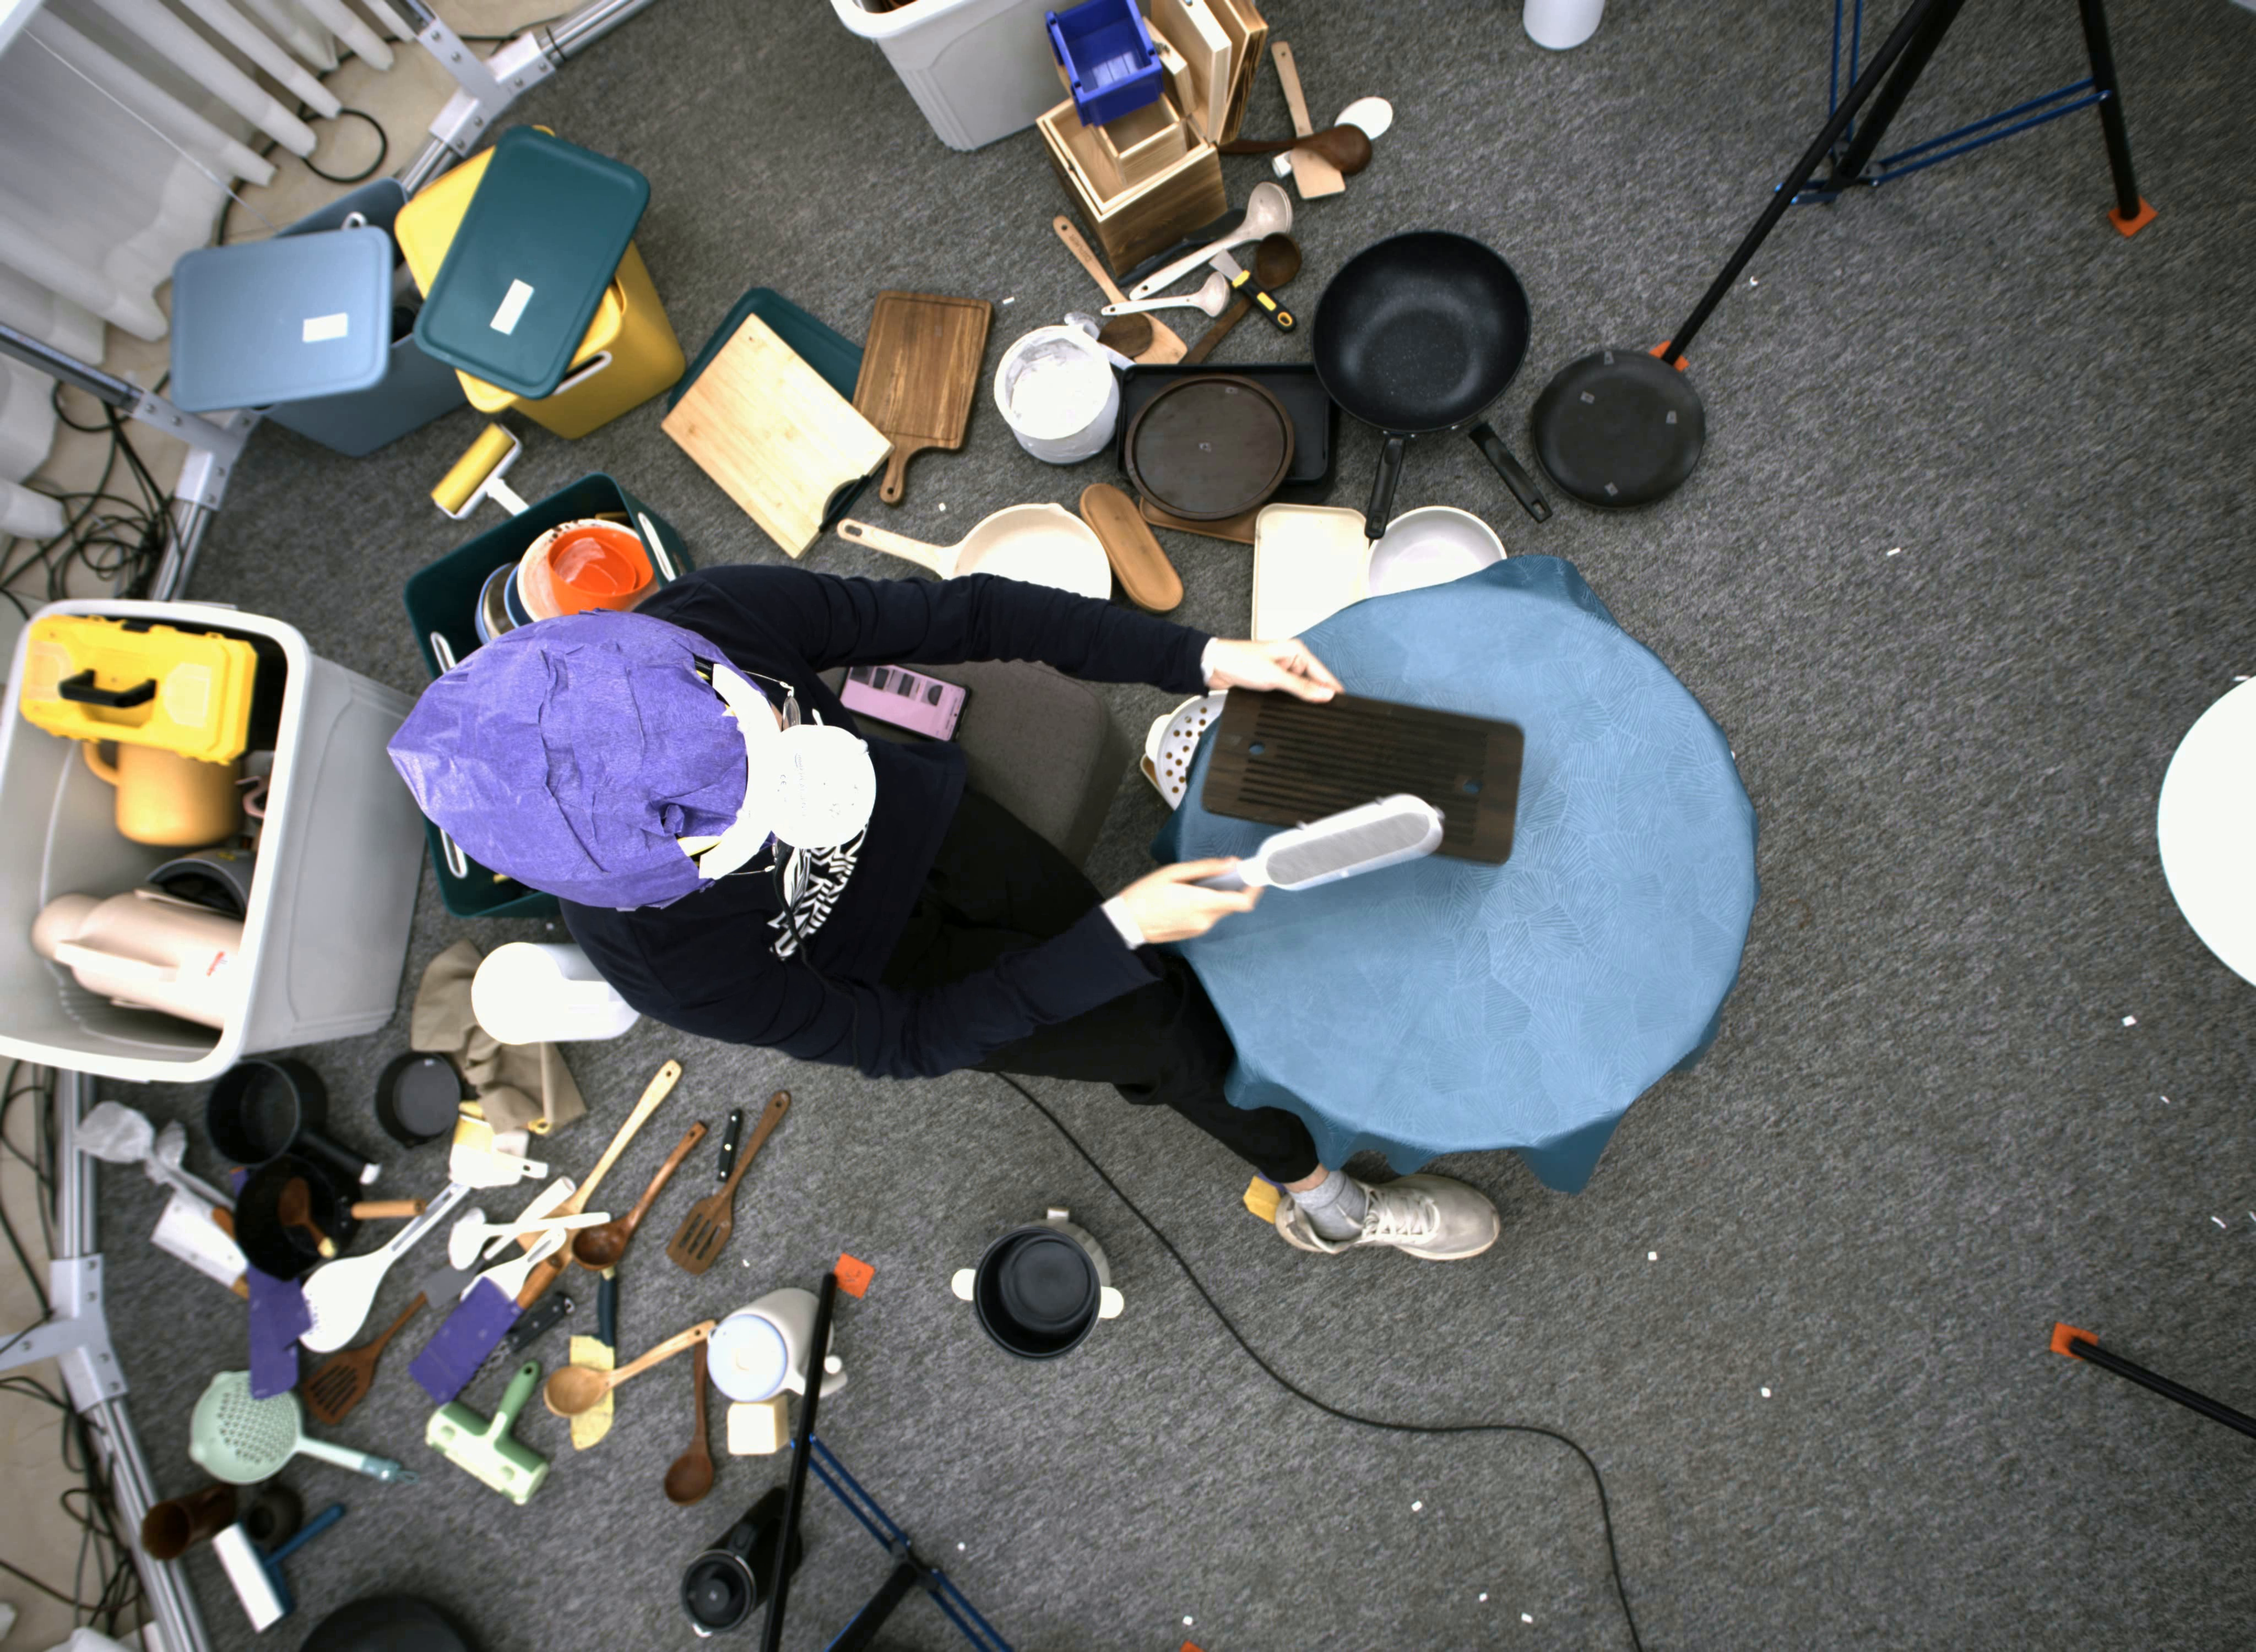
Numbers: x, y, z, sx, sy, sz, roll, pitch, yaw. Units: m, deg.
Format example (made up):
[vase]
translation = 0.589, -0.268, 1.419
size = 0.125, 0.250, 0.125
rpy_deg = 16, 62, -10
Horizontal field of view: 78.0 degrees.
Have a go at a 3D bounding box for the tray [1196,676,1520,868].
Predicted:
[tray]
translation = 0.231, -0.057, 1.375
size = 0.306, 0.019, 0.166
rpy_deg = 11, 62, 9

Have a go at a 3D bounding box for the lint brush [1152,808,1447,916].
[lint brush]
translation = 0.160, 0.040, 1.346
size = 0.312, 0.020, 0.061
rpy_deg = -17, 124, 25
